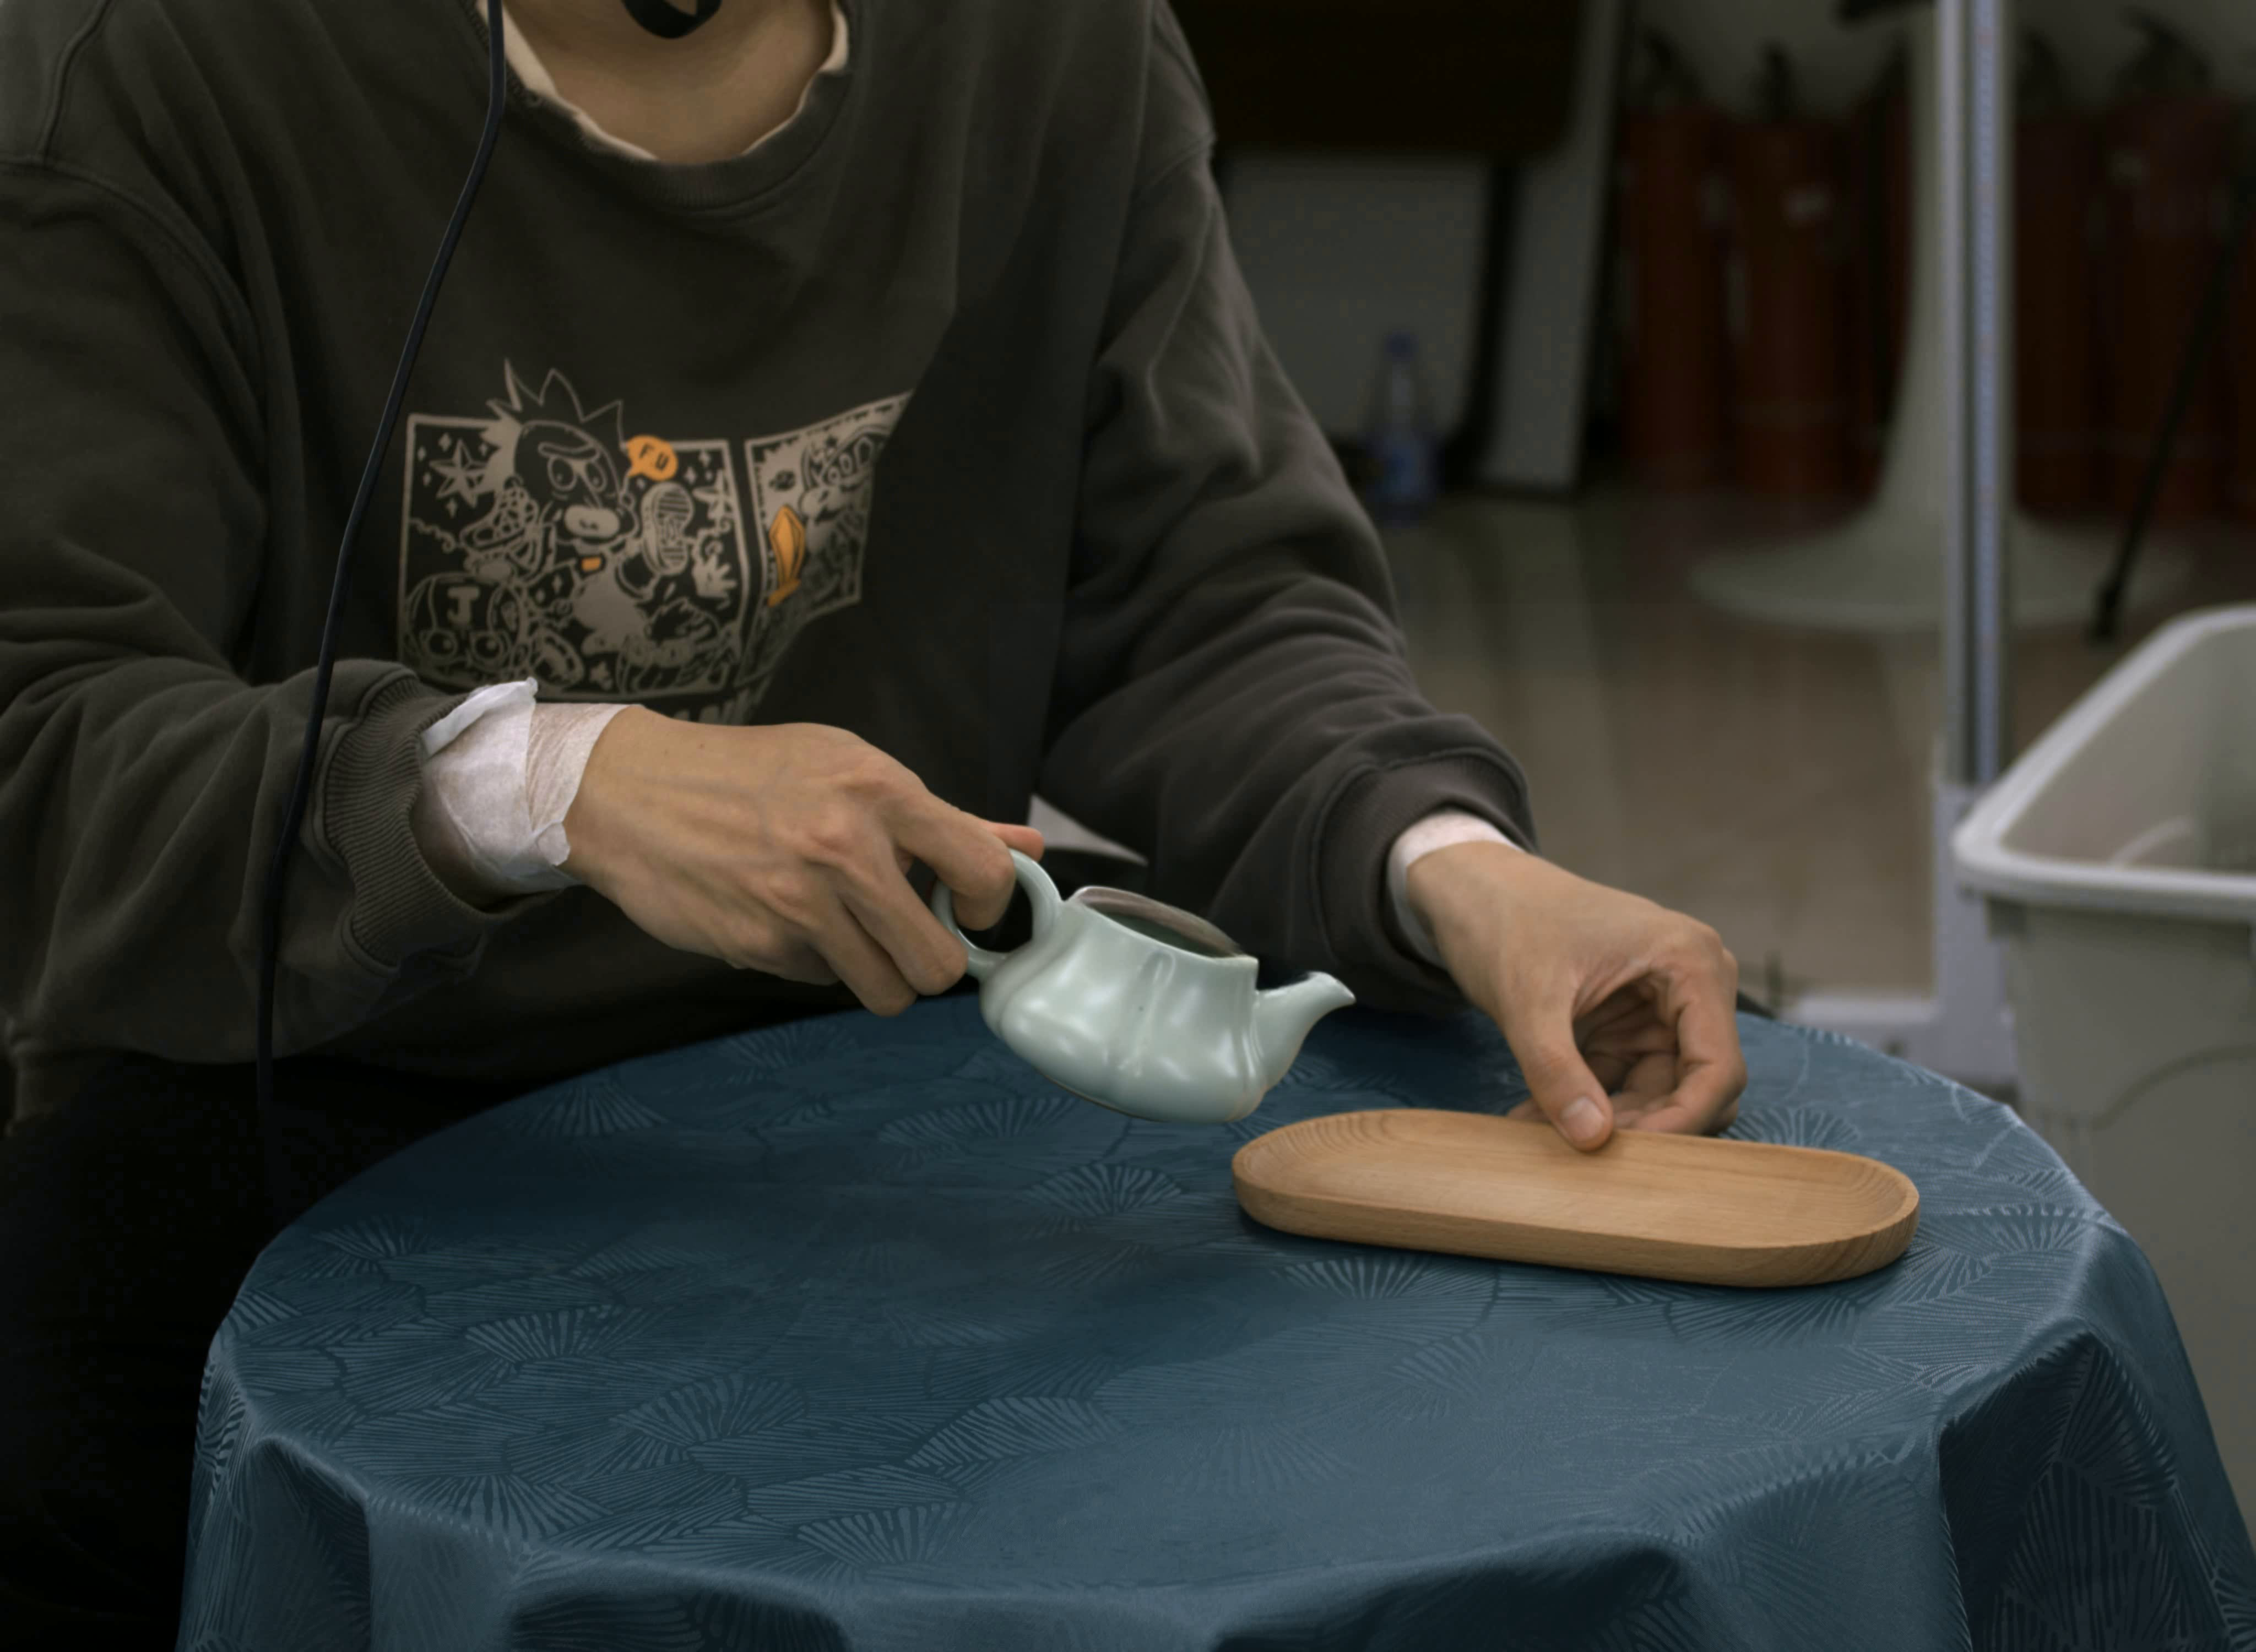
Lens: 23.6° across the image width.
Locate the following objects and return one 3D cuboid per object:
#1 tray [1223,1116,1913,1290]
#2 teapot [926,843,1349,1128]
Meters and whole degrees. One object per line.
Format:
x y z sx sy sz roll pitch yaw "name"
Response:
0.138 0.119 1.709 0.232 0.020 0.100 2 14 30 "tray"
-0.003 0.053 1.686 0.135 0.062 0.096 22 11 -6 "teapot"
